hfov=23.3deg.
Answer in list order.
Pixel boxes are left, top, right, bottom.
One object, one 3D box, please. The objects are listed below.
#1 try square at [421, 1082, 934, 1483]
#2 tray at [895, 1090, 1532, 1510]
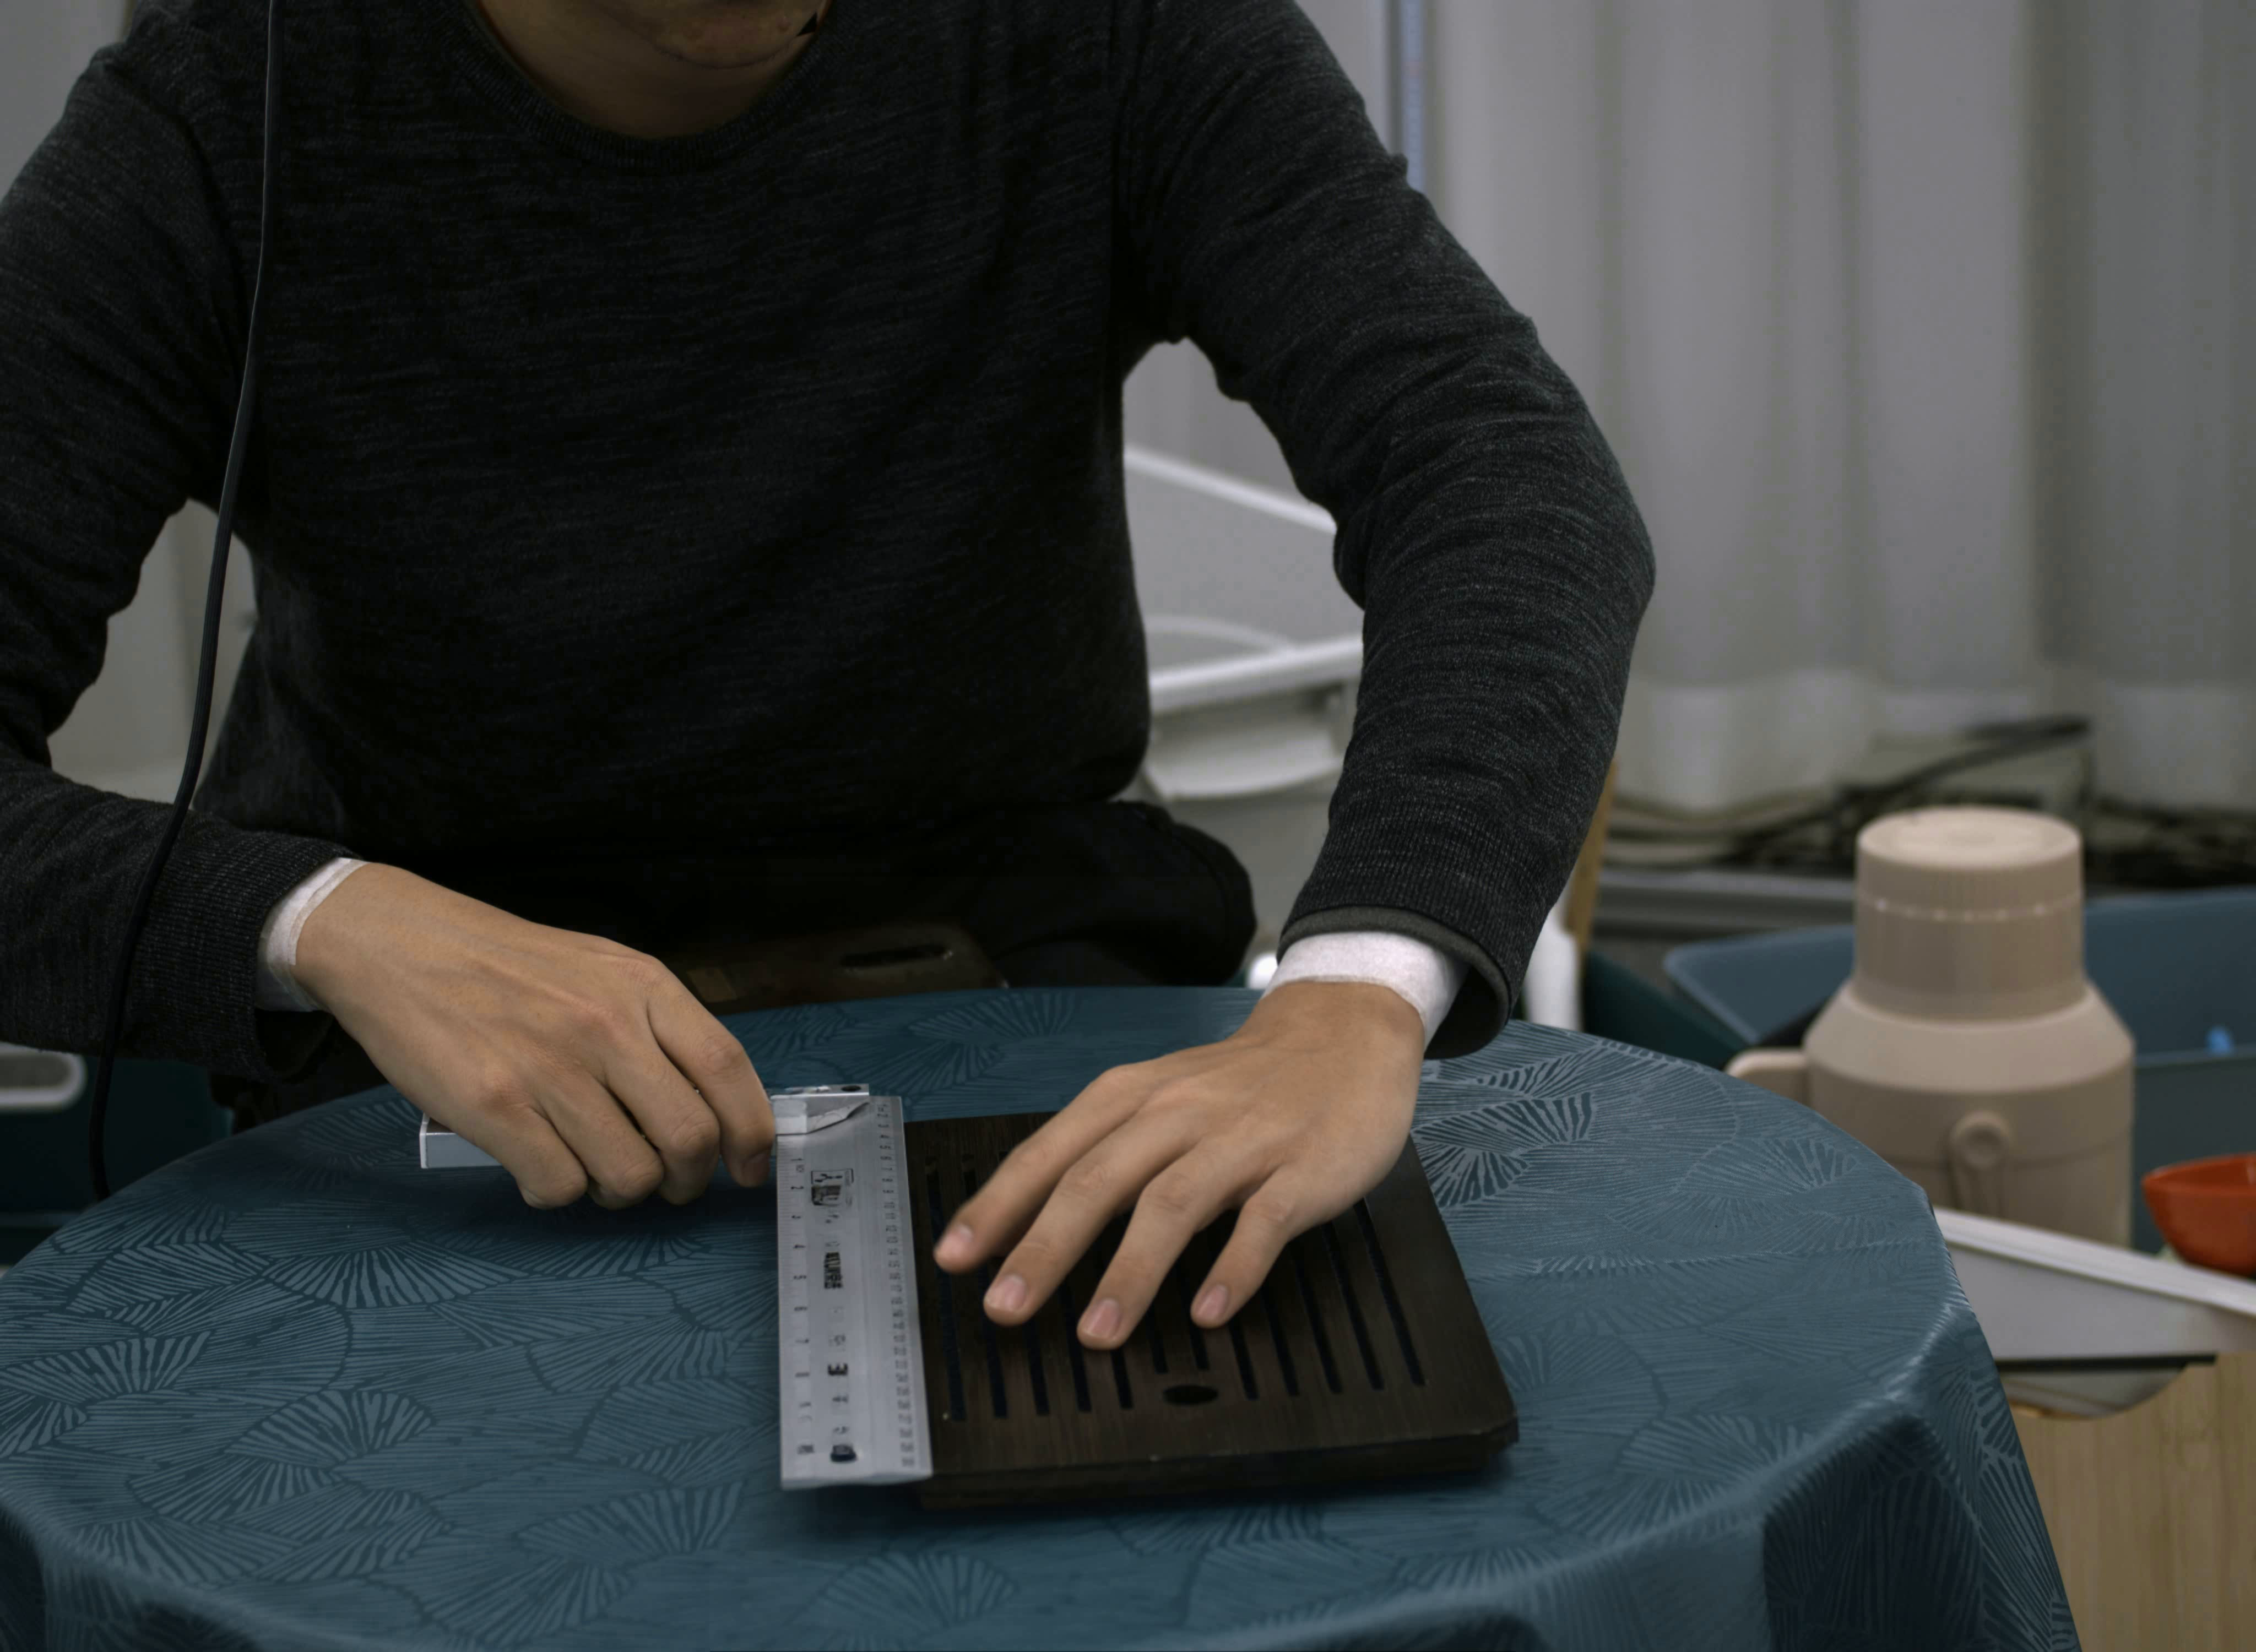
[{"bbox_3d":[-0.136,0.129,1.589,0.151,0.016,0.315,0,16,-4],"label":"try square"},{"bbox_3d":[0.015,0.135,1.598,0.169,0.018,0.308,-4,15,-3],"label":"tray"}]
